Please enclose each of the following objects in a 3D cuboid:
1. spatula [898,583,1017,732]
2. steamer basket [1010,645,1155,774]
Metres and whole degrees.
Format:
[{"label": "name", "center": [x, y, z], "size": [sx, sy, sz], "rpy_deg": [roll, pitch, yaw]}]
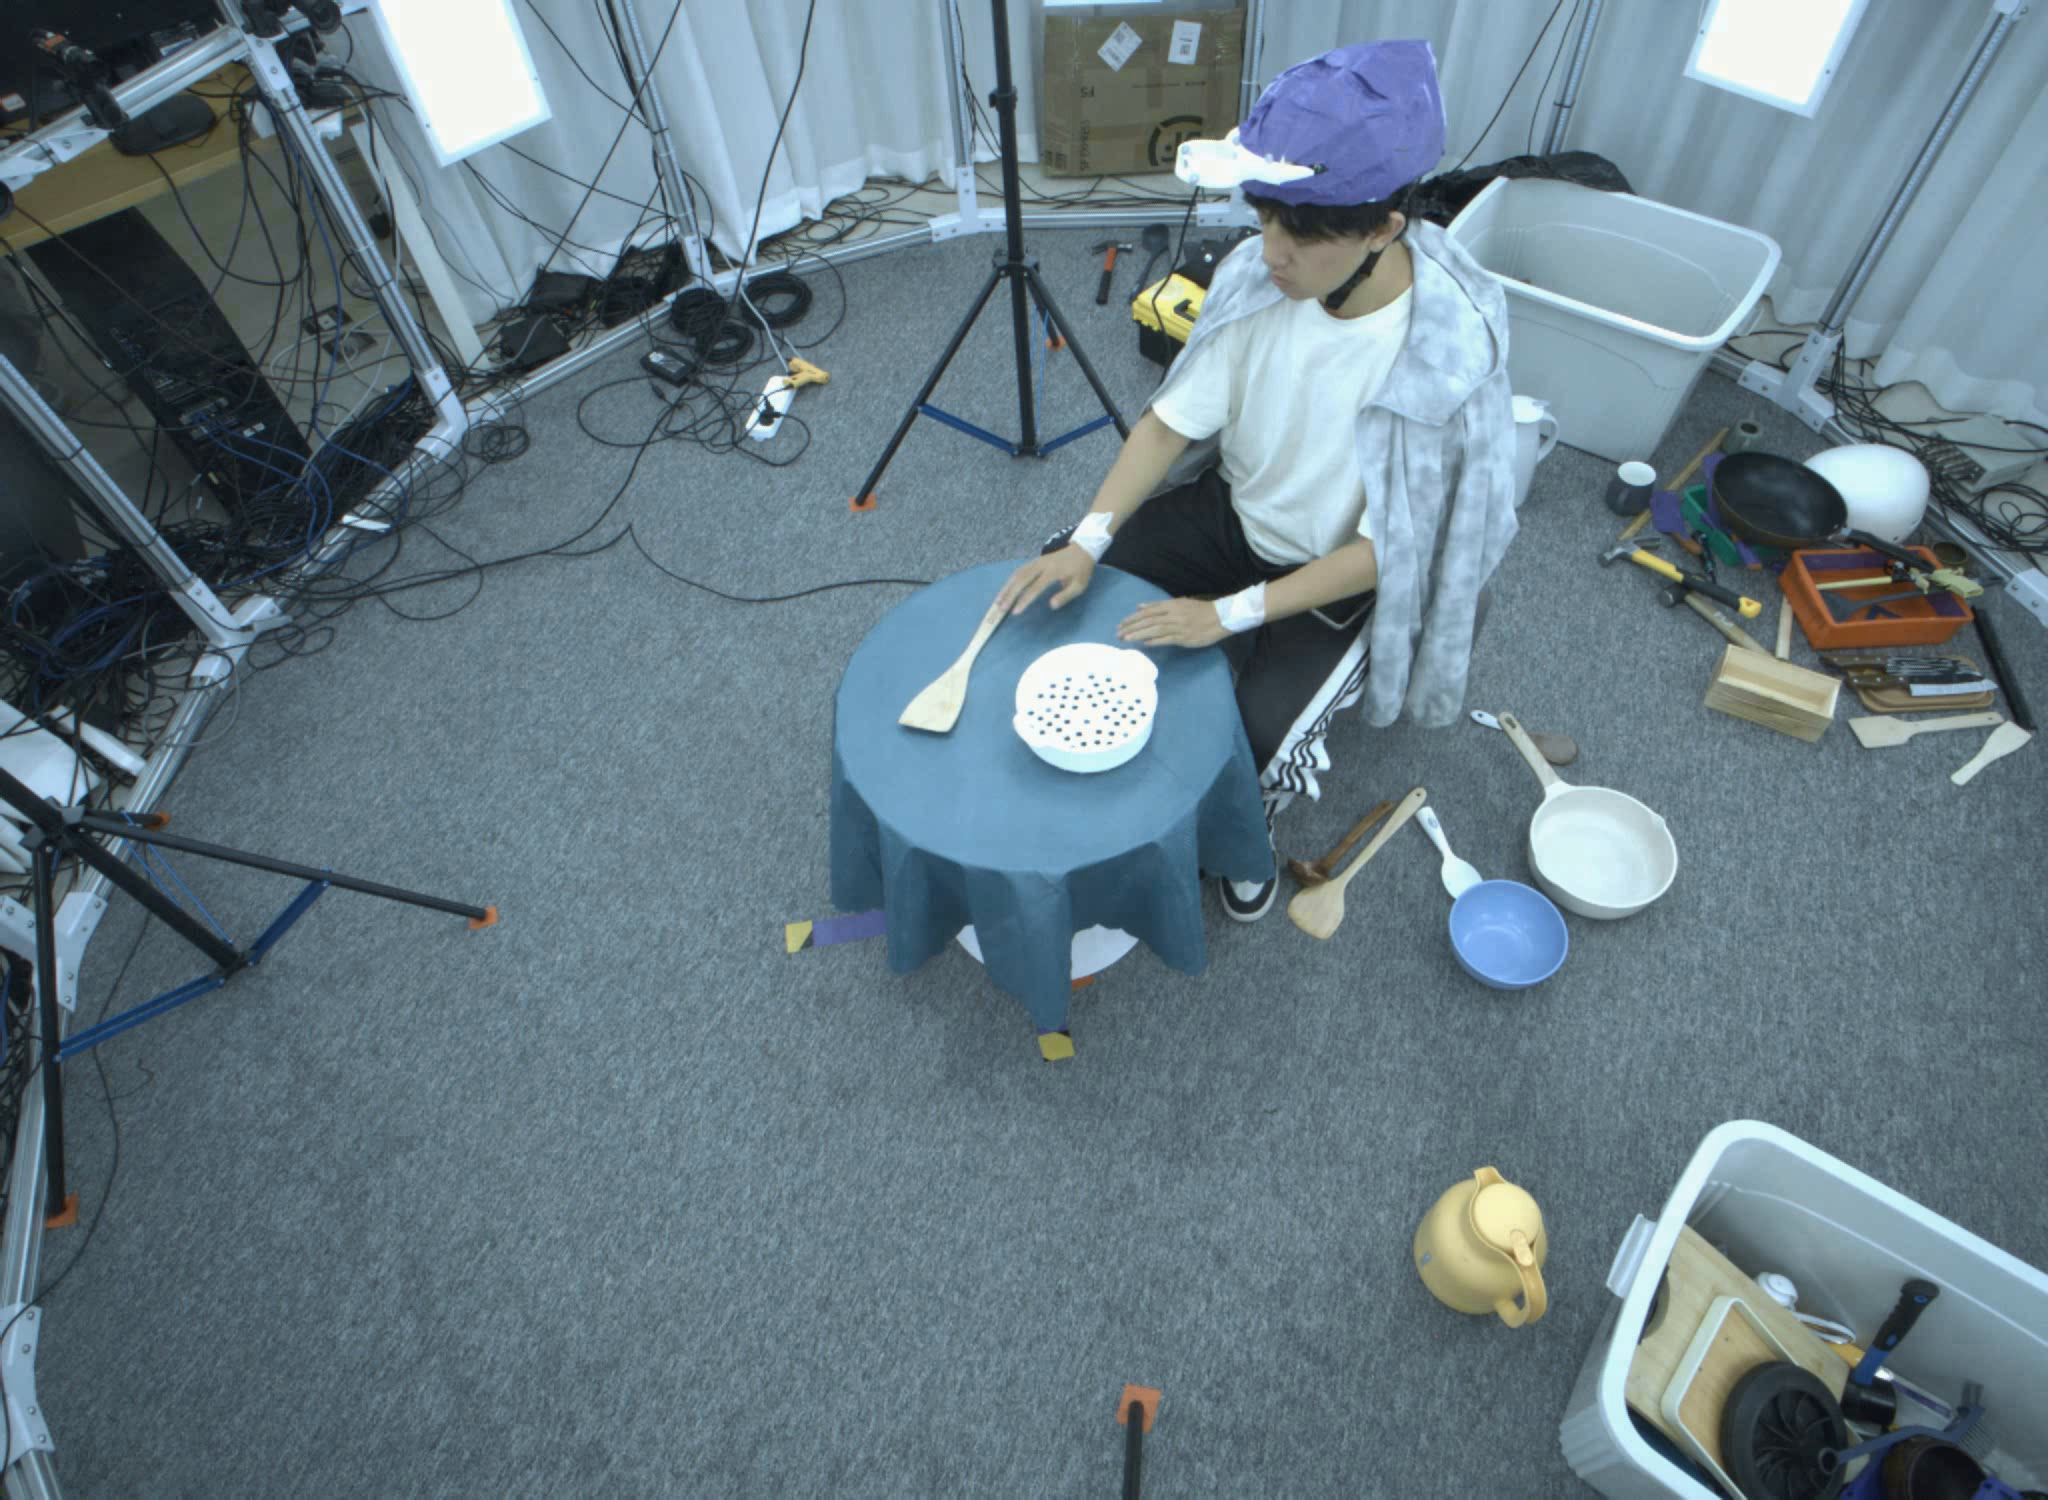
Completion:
[{"label": "spatula", "center": [-0.086, -0.146, 1.885], "size": [0.079, 0.017, 0.328], "rpy_deg": [20, 58, 14]}, {"label": "steamer basket", "center": [0.086, -0.057, 1.787], "size": [0.232, 0.070, 0.198], "rpy_deg": [-31, 60, -19]}]
